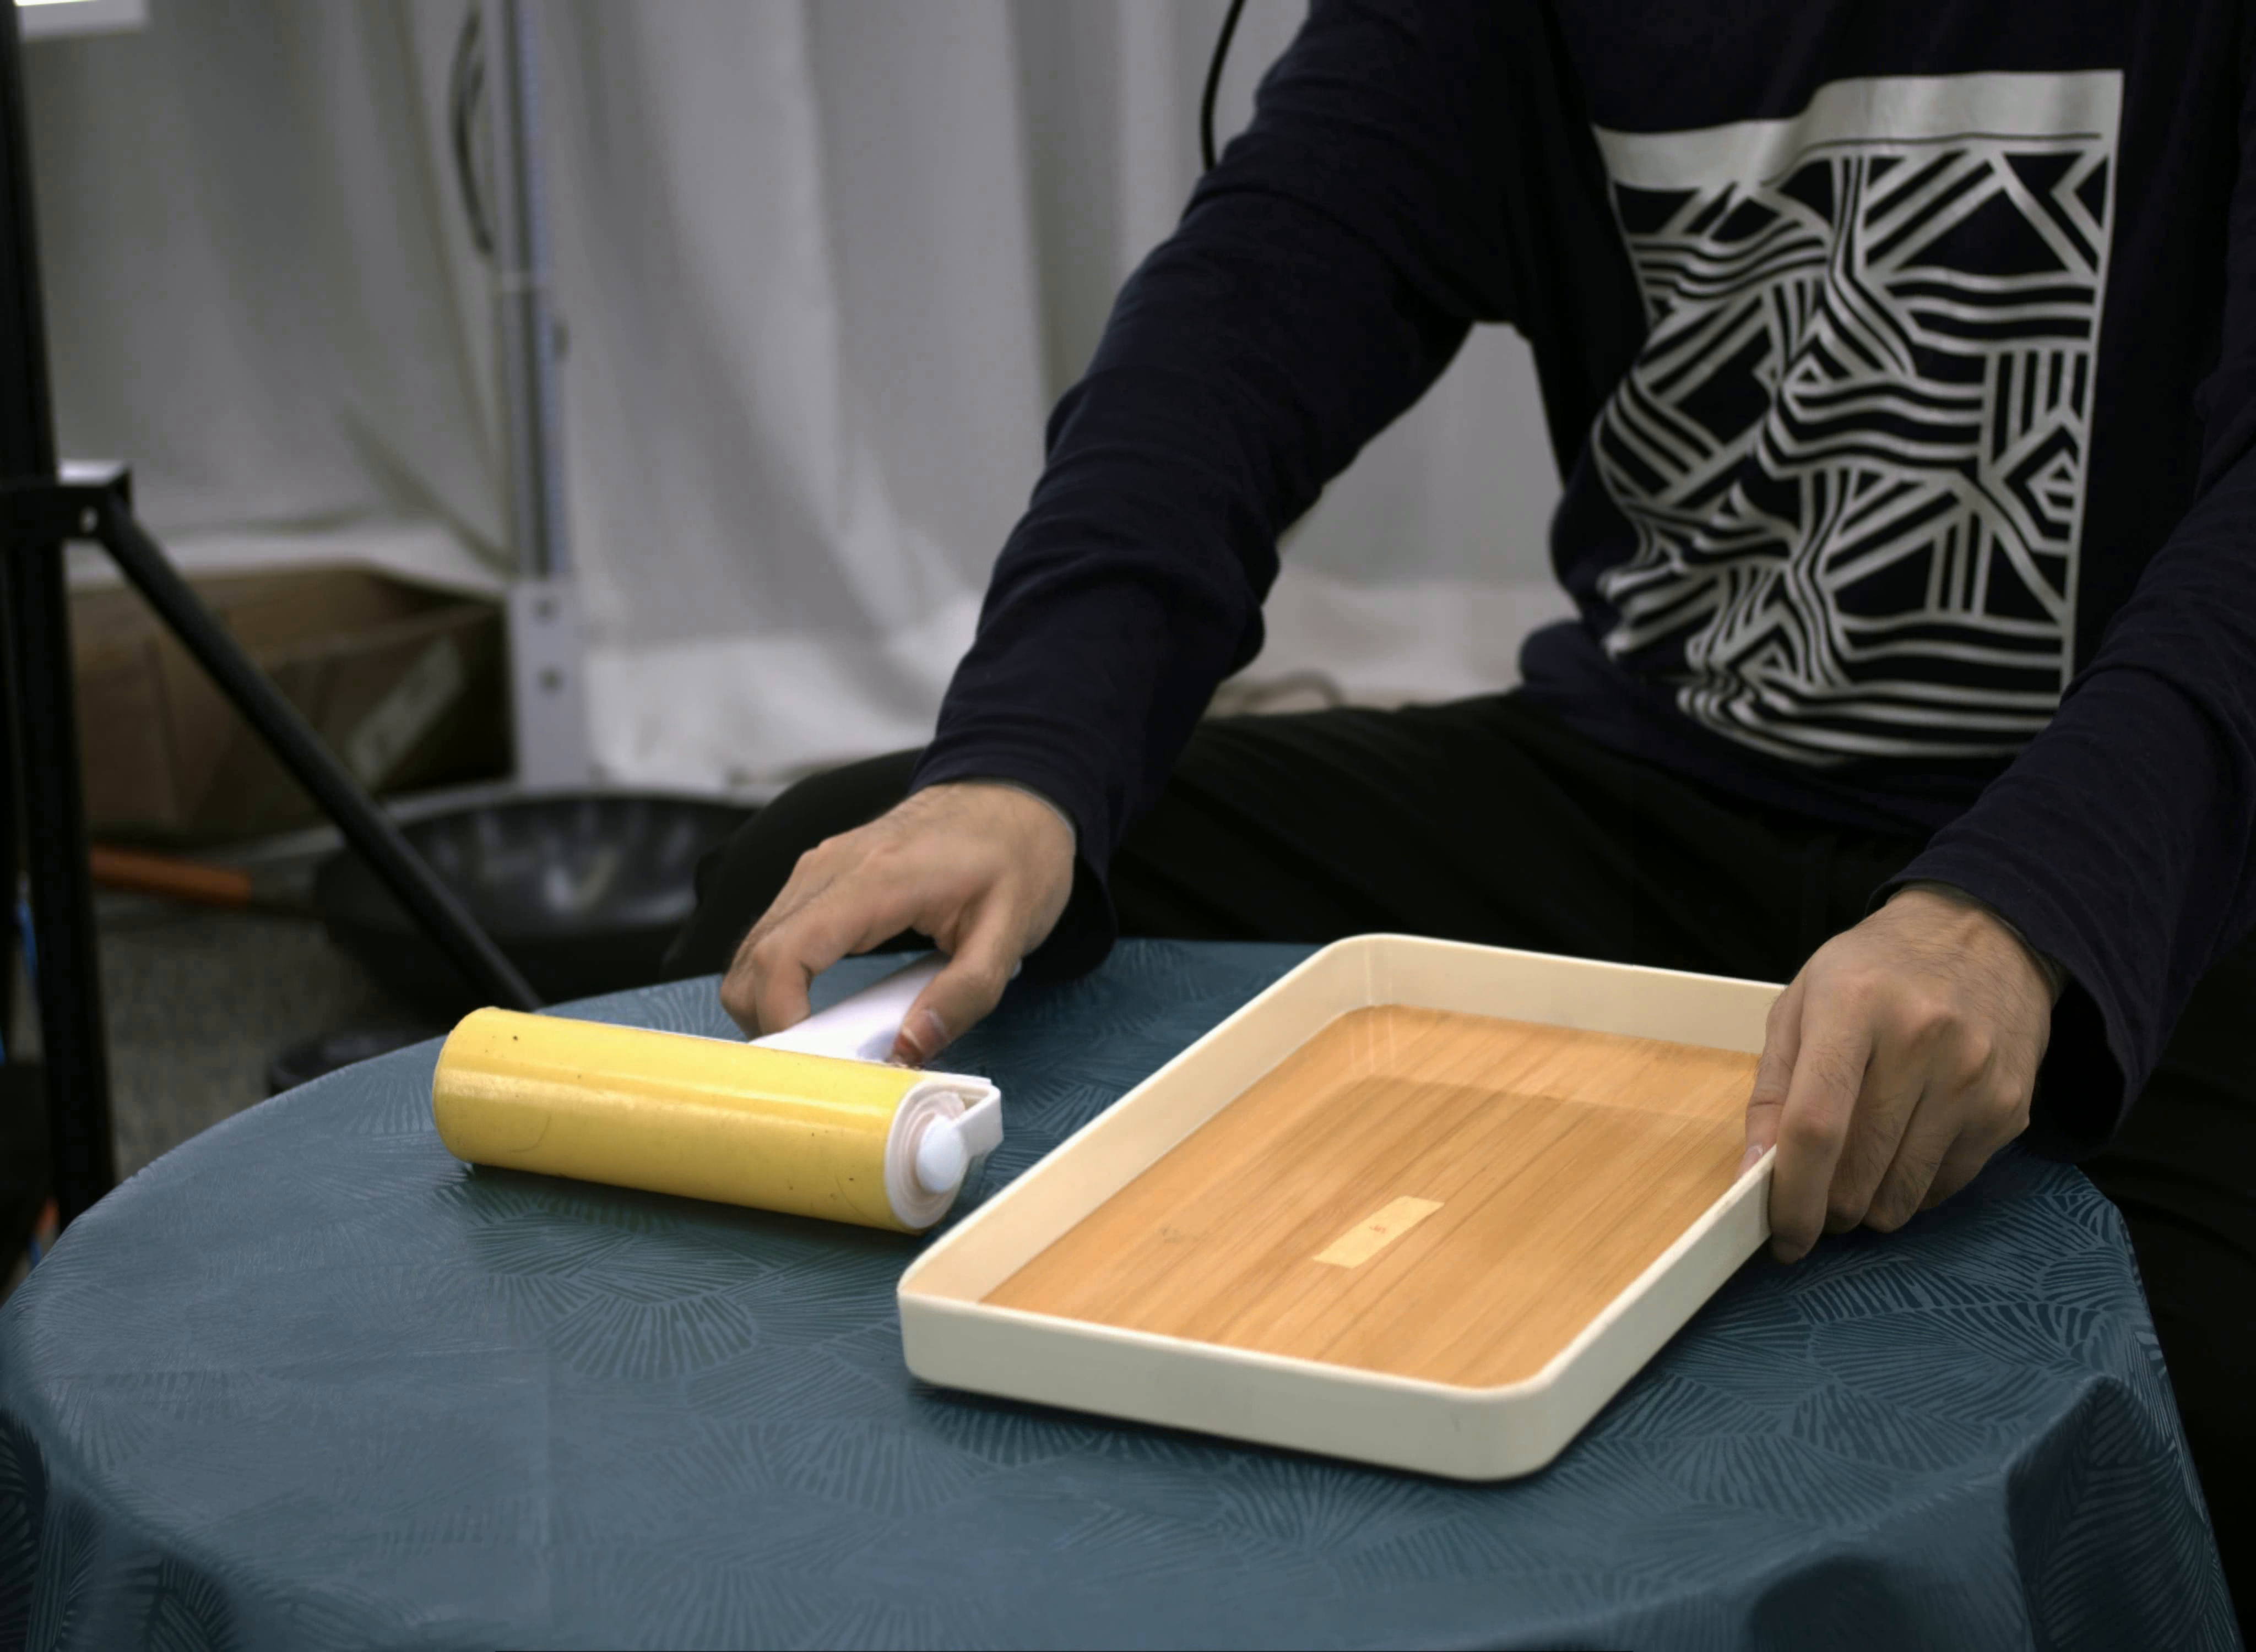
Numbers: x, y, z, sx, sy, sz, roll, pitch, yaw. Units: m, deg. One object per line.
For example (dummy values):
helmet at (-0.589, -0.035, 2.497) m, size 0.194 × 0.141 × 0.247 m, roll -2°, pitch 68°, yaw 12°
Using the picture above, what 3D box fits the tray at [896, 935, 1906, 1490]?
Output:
tray at (0.084, 0.101, 1.485) m, size 0.195 × 0.027 × 0.295 m, roll 7°, pitch 22°, yaw 27°

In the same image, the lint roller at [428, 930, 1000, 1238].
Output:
lint roller at (-0.094, 0.059, 1.626) m, size 0.177 × 0.051 × 0.189 m, roll 6°, pitch 28°, yaw 29°
